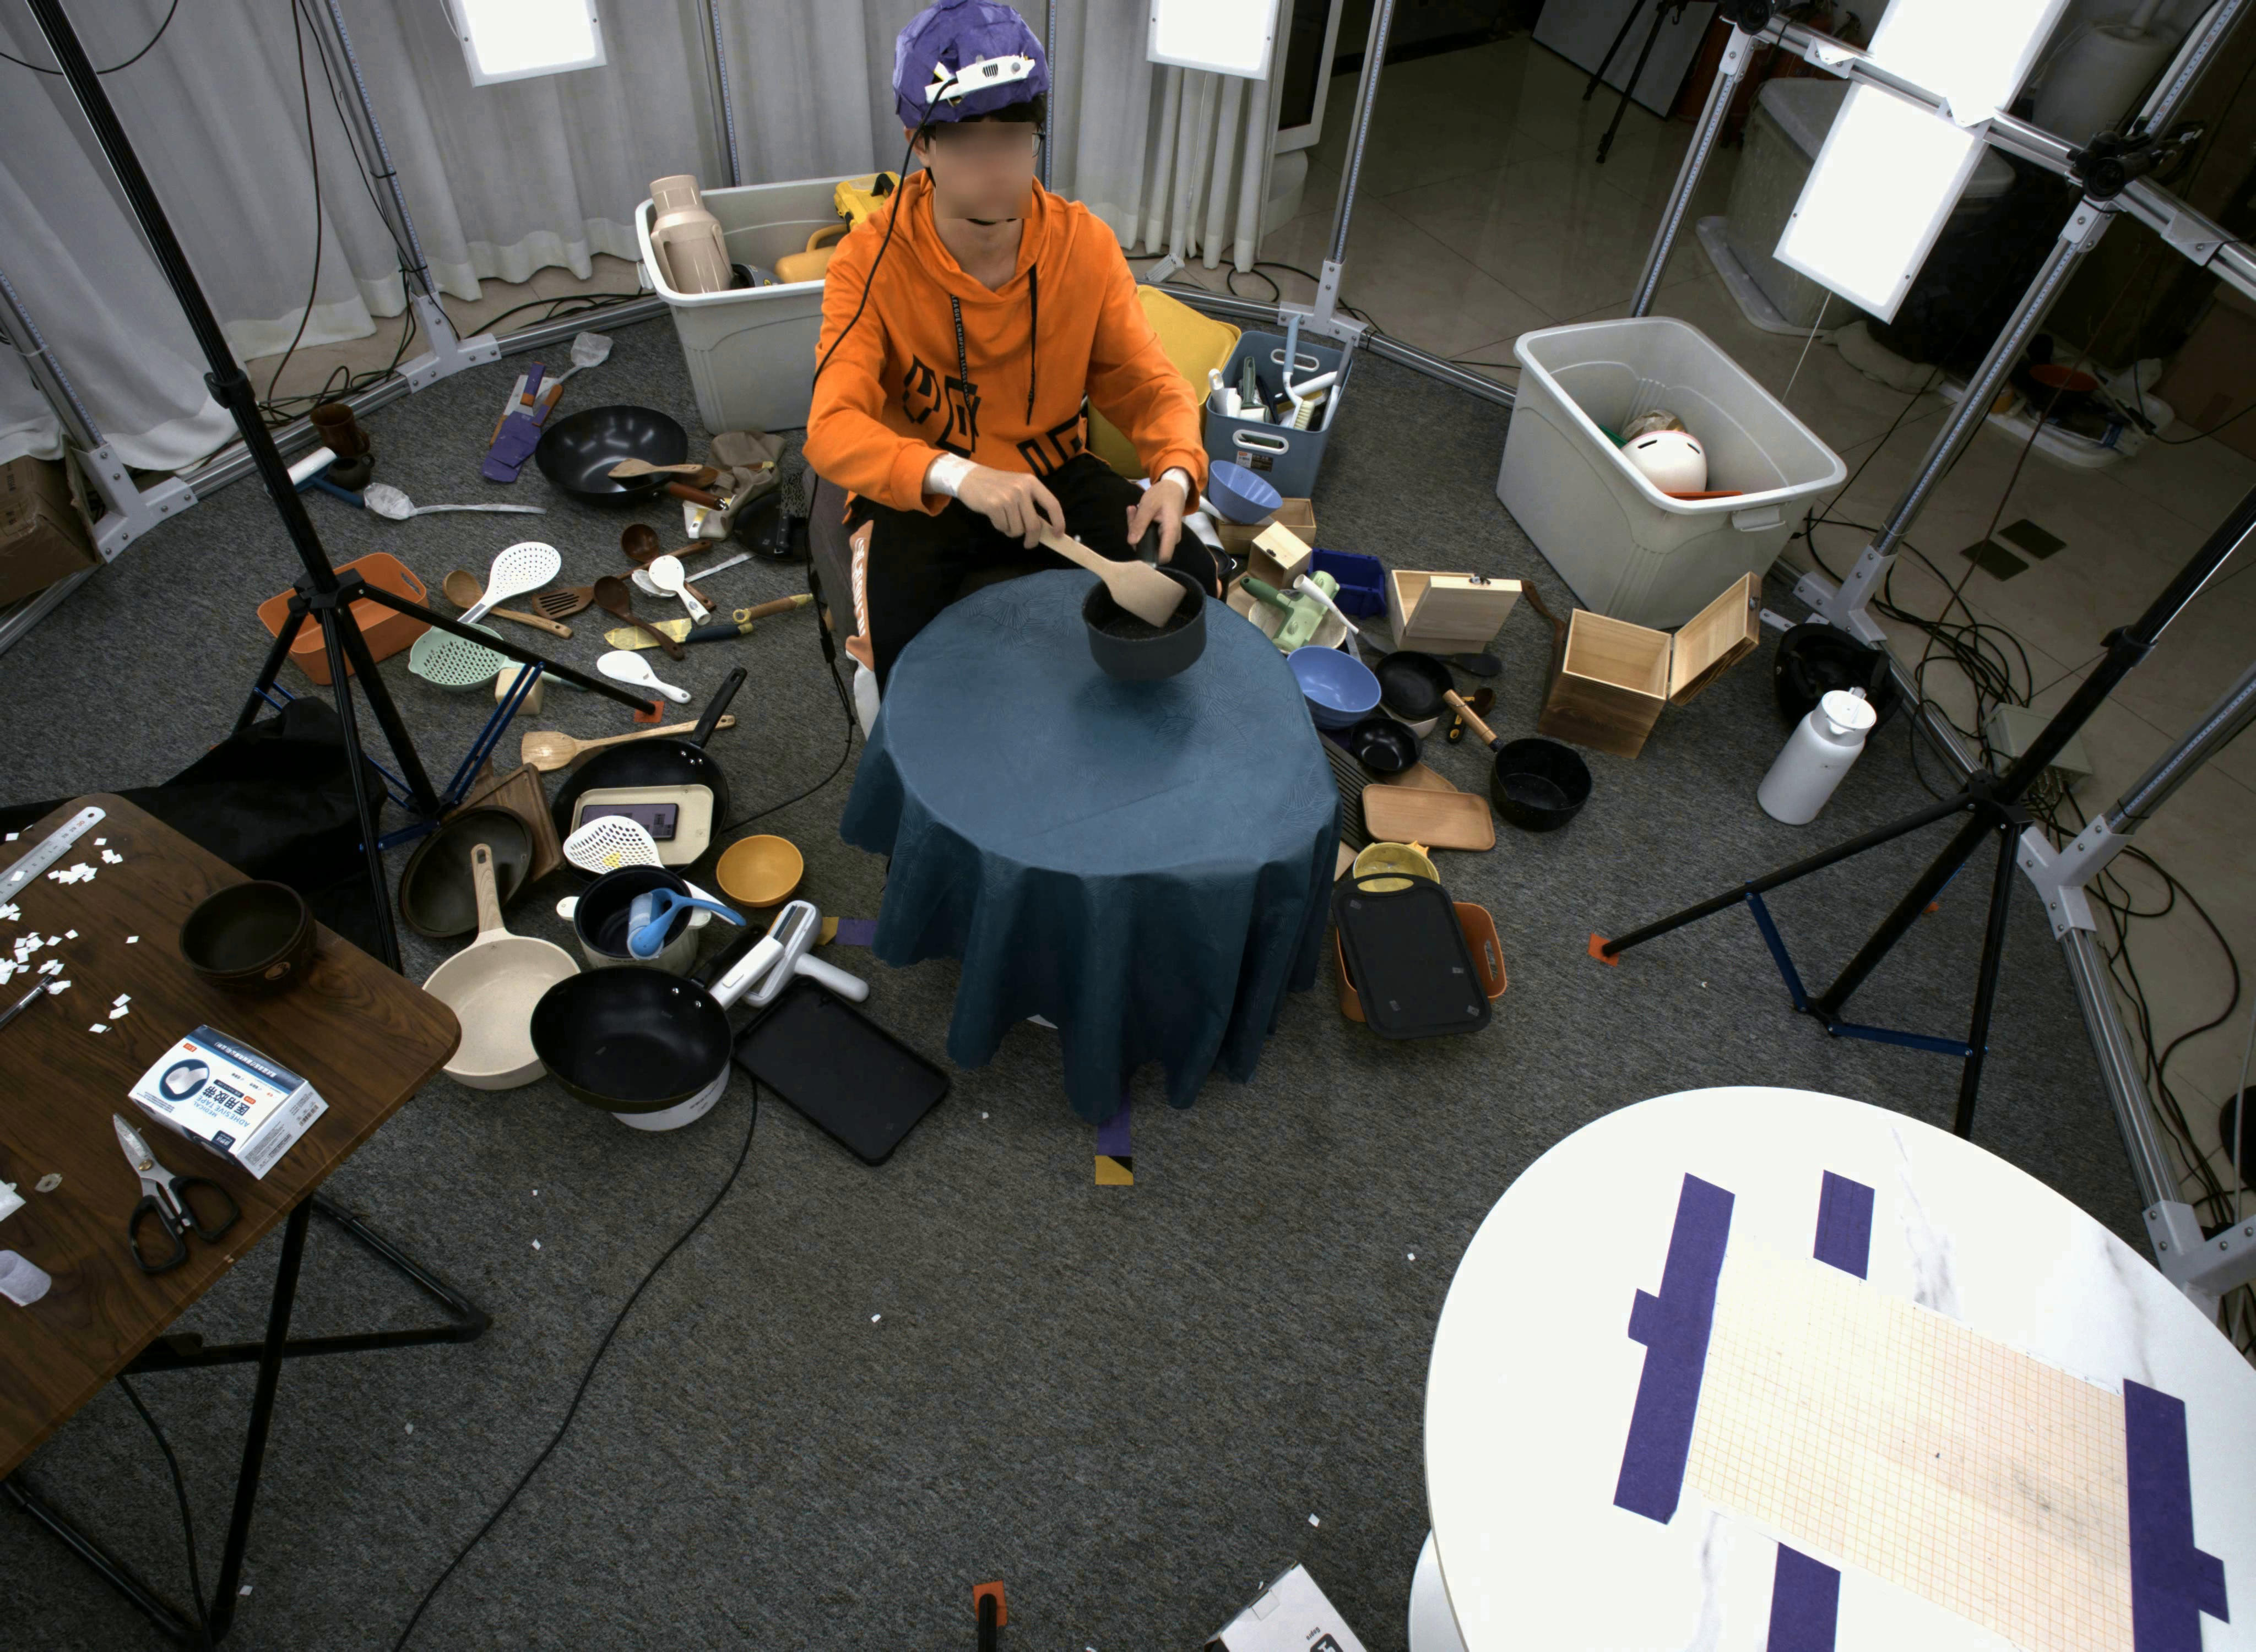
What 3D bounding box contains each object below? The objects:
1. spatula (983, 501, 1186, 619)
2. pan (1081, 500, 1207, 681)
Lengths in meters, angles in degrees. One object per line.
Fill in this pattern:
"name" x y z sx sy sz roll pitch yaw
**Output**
"spatula" -0.061 -0.373 1.768 0.291 0.071 0.011 24 33 -11
"pan" 0.030 -0.338 1.831 0.172 0.084 0.337 0 46 7
